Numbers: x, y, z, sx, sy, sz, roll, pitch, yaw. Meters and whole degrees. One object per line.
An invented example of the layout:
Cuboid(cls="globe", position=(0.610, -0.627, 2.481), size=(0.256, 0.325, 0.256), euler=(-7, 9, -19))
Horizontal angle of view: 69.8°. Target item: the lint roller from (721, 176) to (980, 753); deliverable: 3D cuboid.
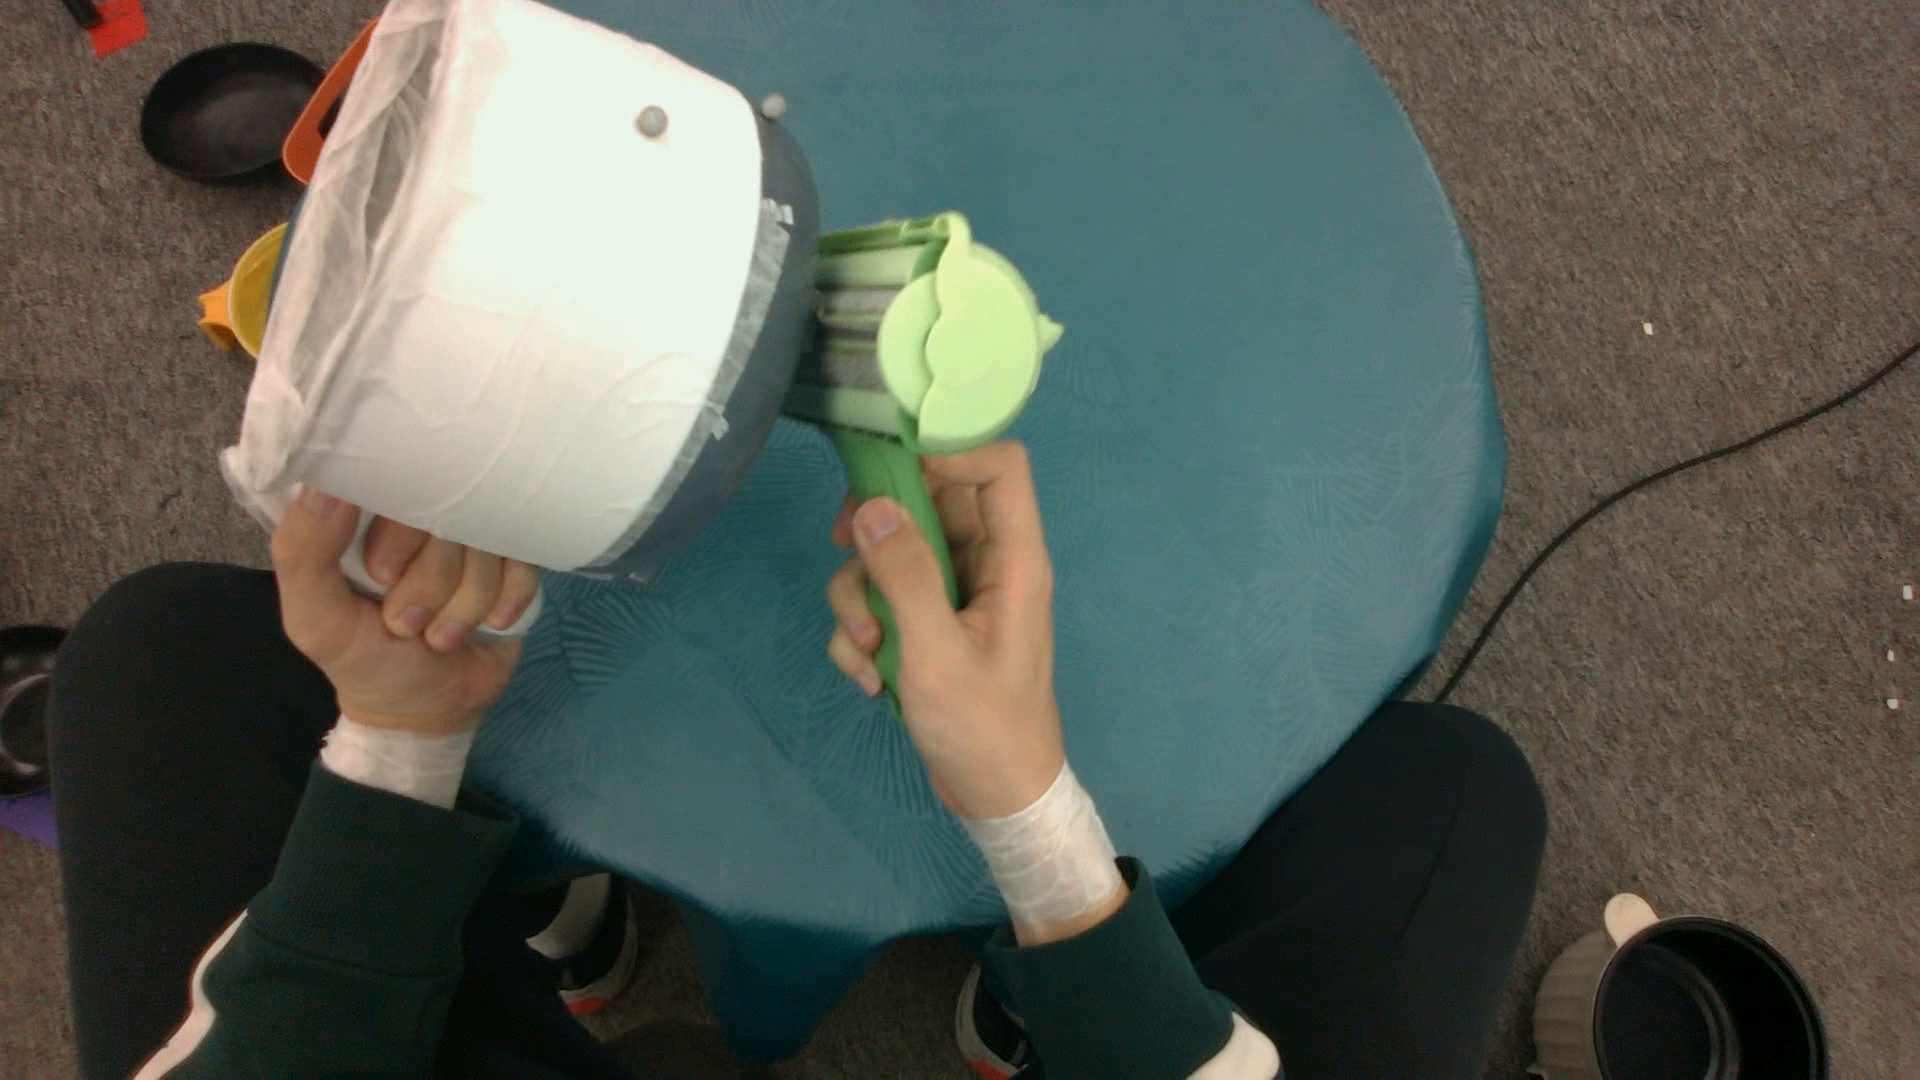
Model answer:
Cuboid(cls="lint roller", position=(-0.044, -0.020, 0.504), size=(0.082, 0.198, 0.183), euler=(-14, 94, -23))

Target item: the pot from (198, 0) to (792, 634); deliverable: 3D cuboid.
Cuboid(cls="pot", position=(-0.164, -0.066, 0.471), size=(0.137, 0.233, 0.179), euler=(17, 28, -35))
